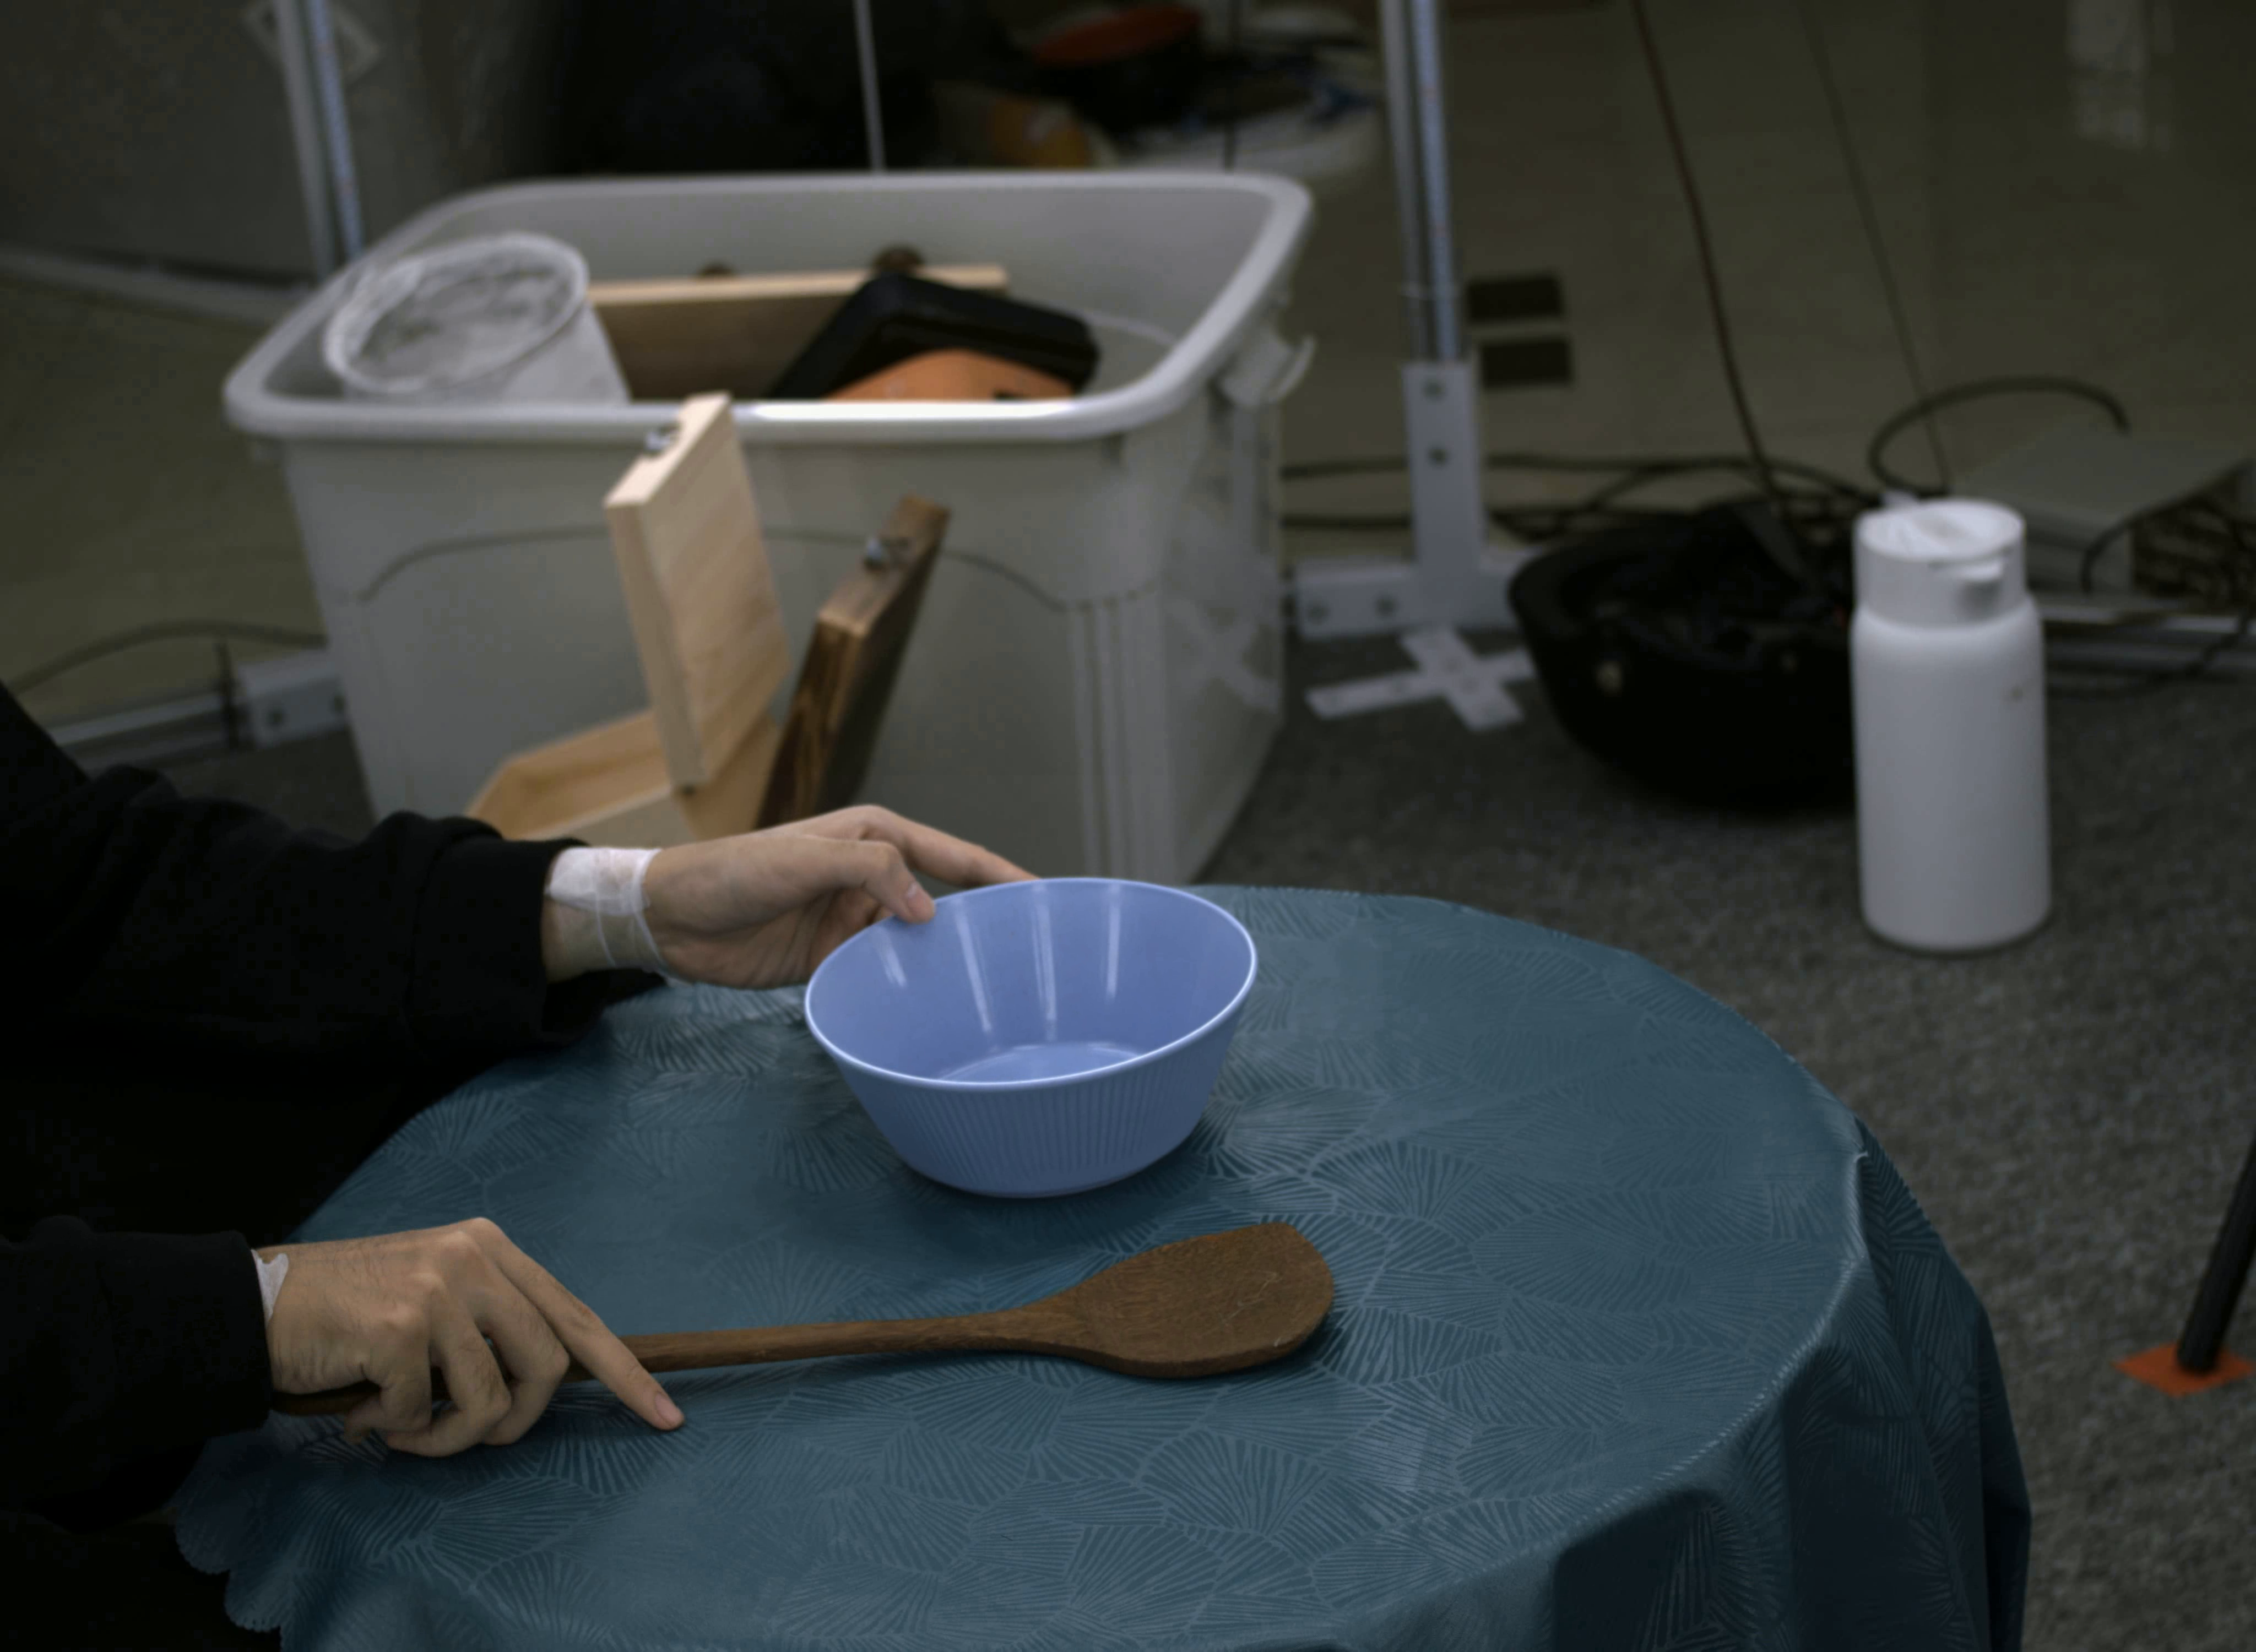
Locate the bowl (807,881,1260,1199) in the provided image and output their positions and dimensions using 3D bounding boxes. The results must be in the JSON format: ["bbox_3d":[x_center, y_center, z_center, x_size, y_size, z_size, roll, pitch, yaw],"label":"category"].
[{"bbox_3d":[-0.032,0.088,2.186,0.176,0.071,0.173,-7,25,3],"label":"bowl"}]

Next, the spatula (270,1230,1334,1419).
[{"bbox_3d":[-0.117,0.186,2.049,0.385,0.016,0.095,-5,24,-3],"label":"spatula"}]
